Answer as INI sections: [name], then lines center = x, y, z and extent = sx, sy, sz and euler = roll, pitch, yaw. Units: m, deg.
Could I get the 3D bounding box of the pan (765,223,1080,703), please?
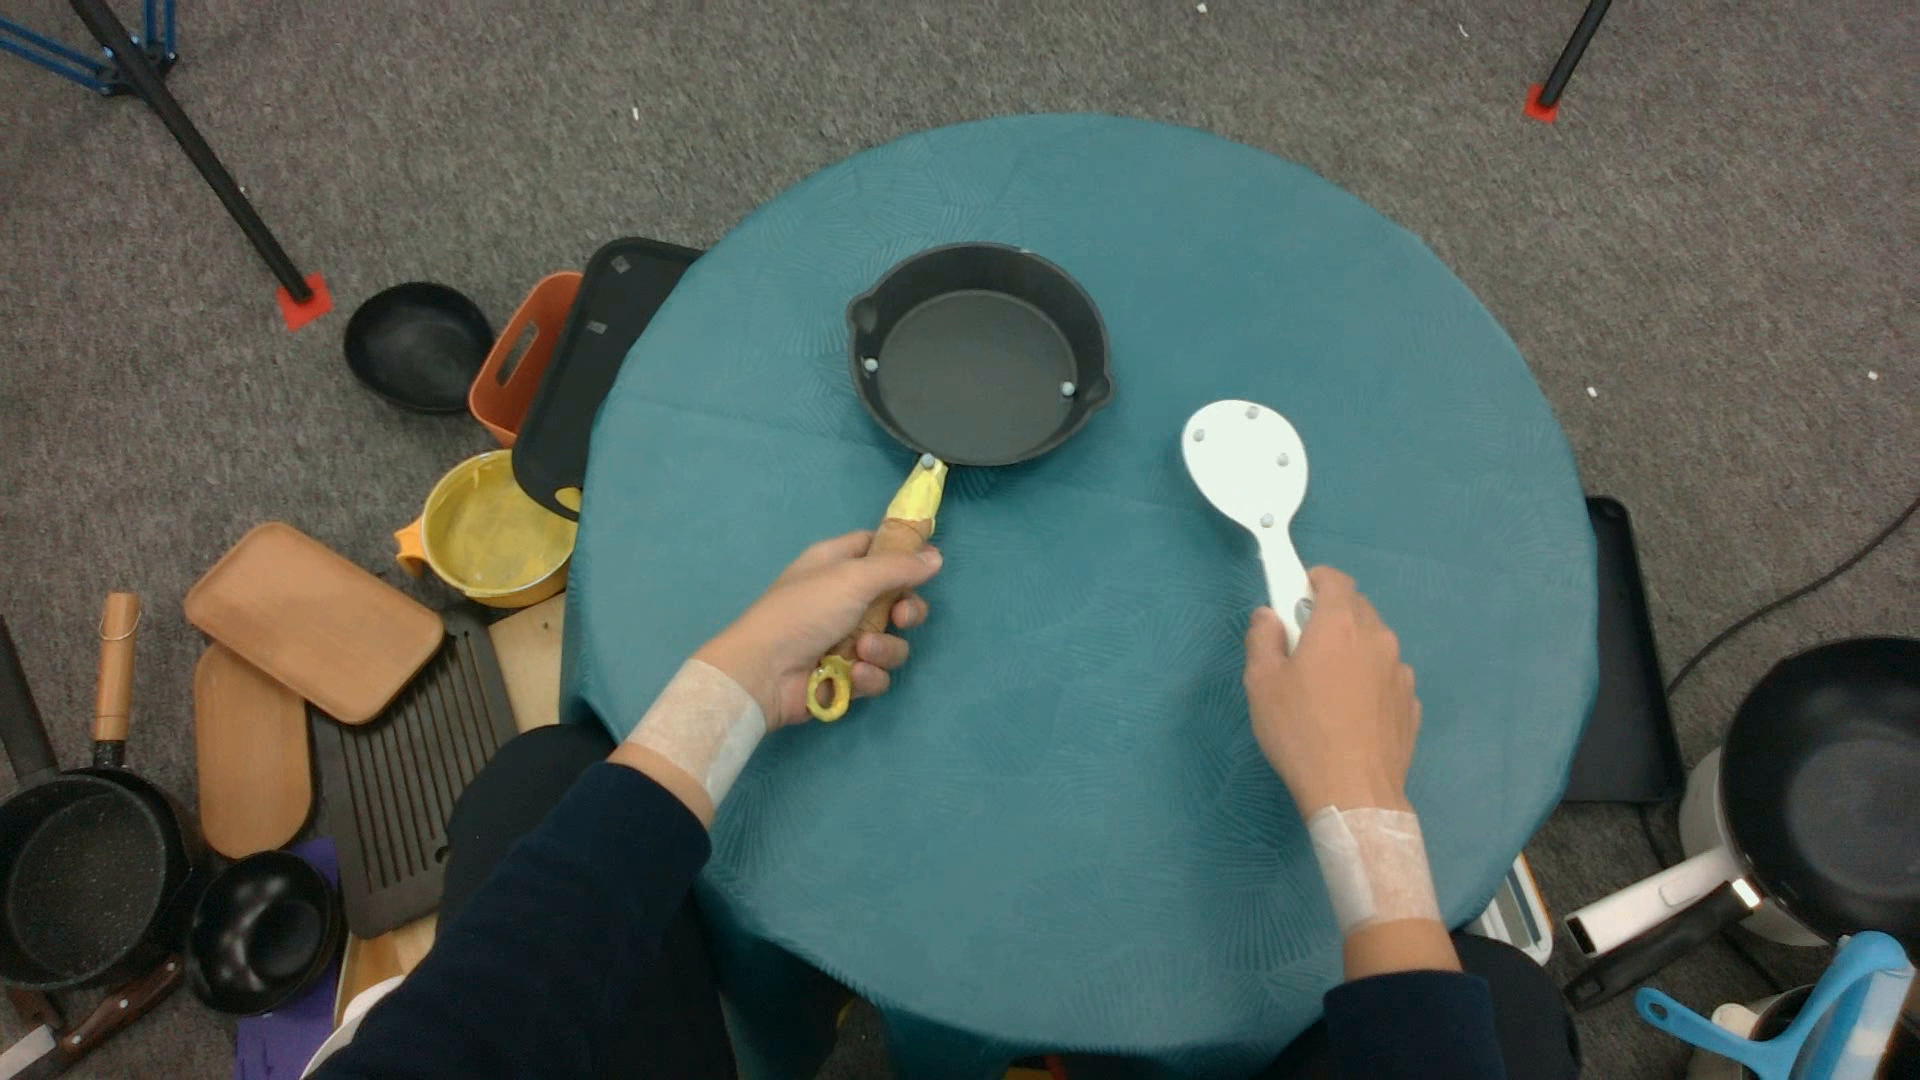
[pan]
center = -0.040, -0.050, 0.788
extent = 0.169, 0.049, 0.325
euler = 21, 64, 5

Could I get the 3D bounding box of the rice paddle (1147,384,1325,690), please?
[rice paddle]
center = 0.155, -0.012, 0.771
extent = 0.069, 0.029, 0.206
euler = -7, 56, -9
